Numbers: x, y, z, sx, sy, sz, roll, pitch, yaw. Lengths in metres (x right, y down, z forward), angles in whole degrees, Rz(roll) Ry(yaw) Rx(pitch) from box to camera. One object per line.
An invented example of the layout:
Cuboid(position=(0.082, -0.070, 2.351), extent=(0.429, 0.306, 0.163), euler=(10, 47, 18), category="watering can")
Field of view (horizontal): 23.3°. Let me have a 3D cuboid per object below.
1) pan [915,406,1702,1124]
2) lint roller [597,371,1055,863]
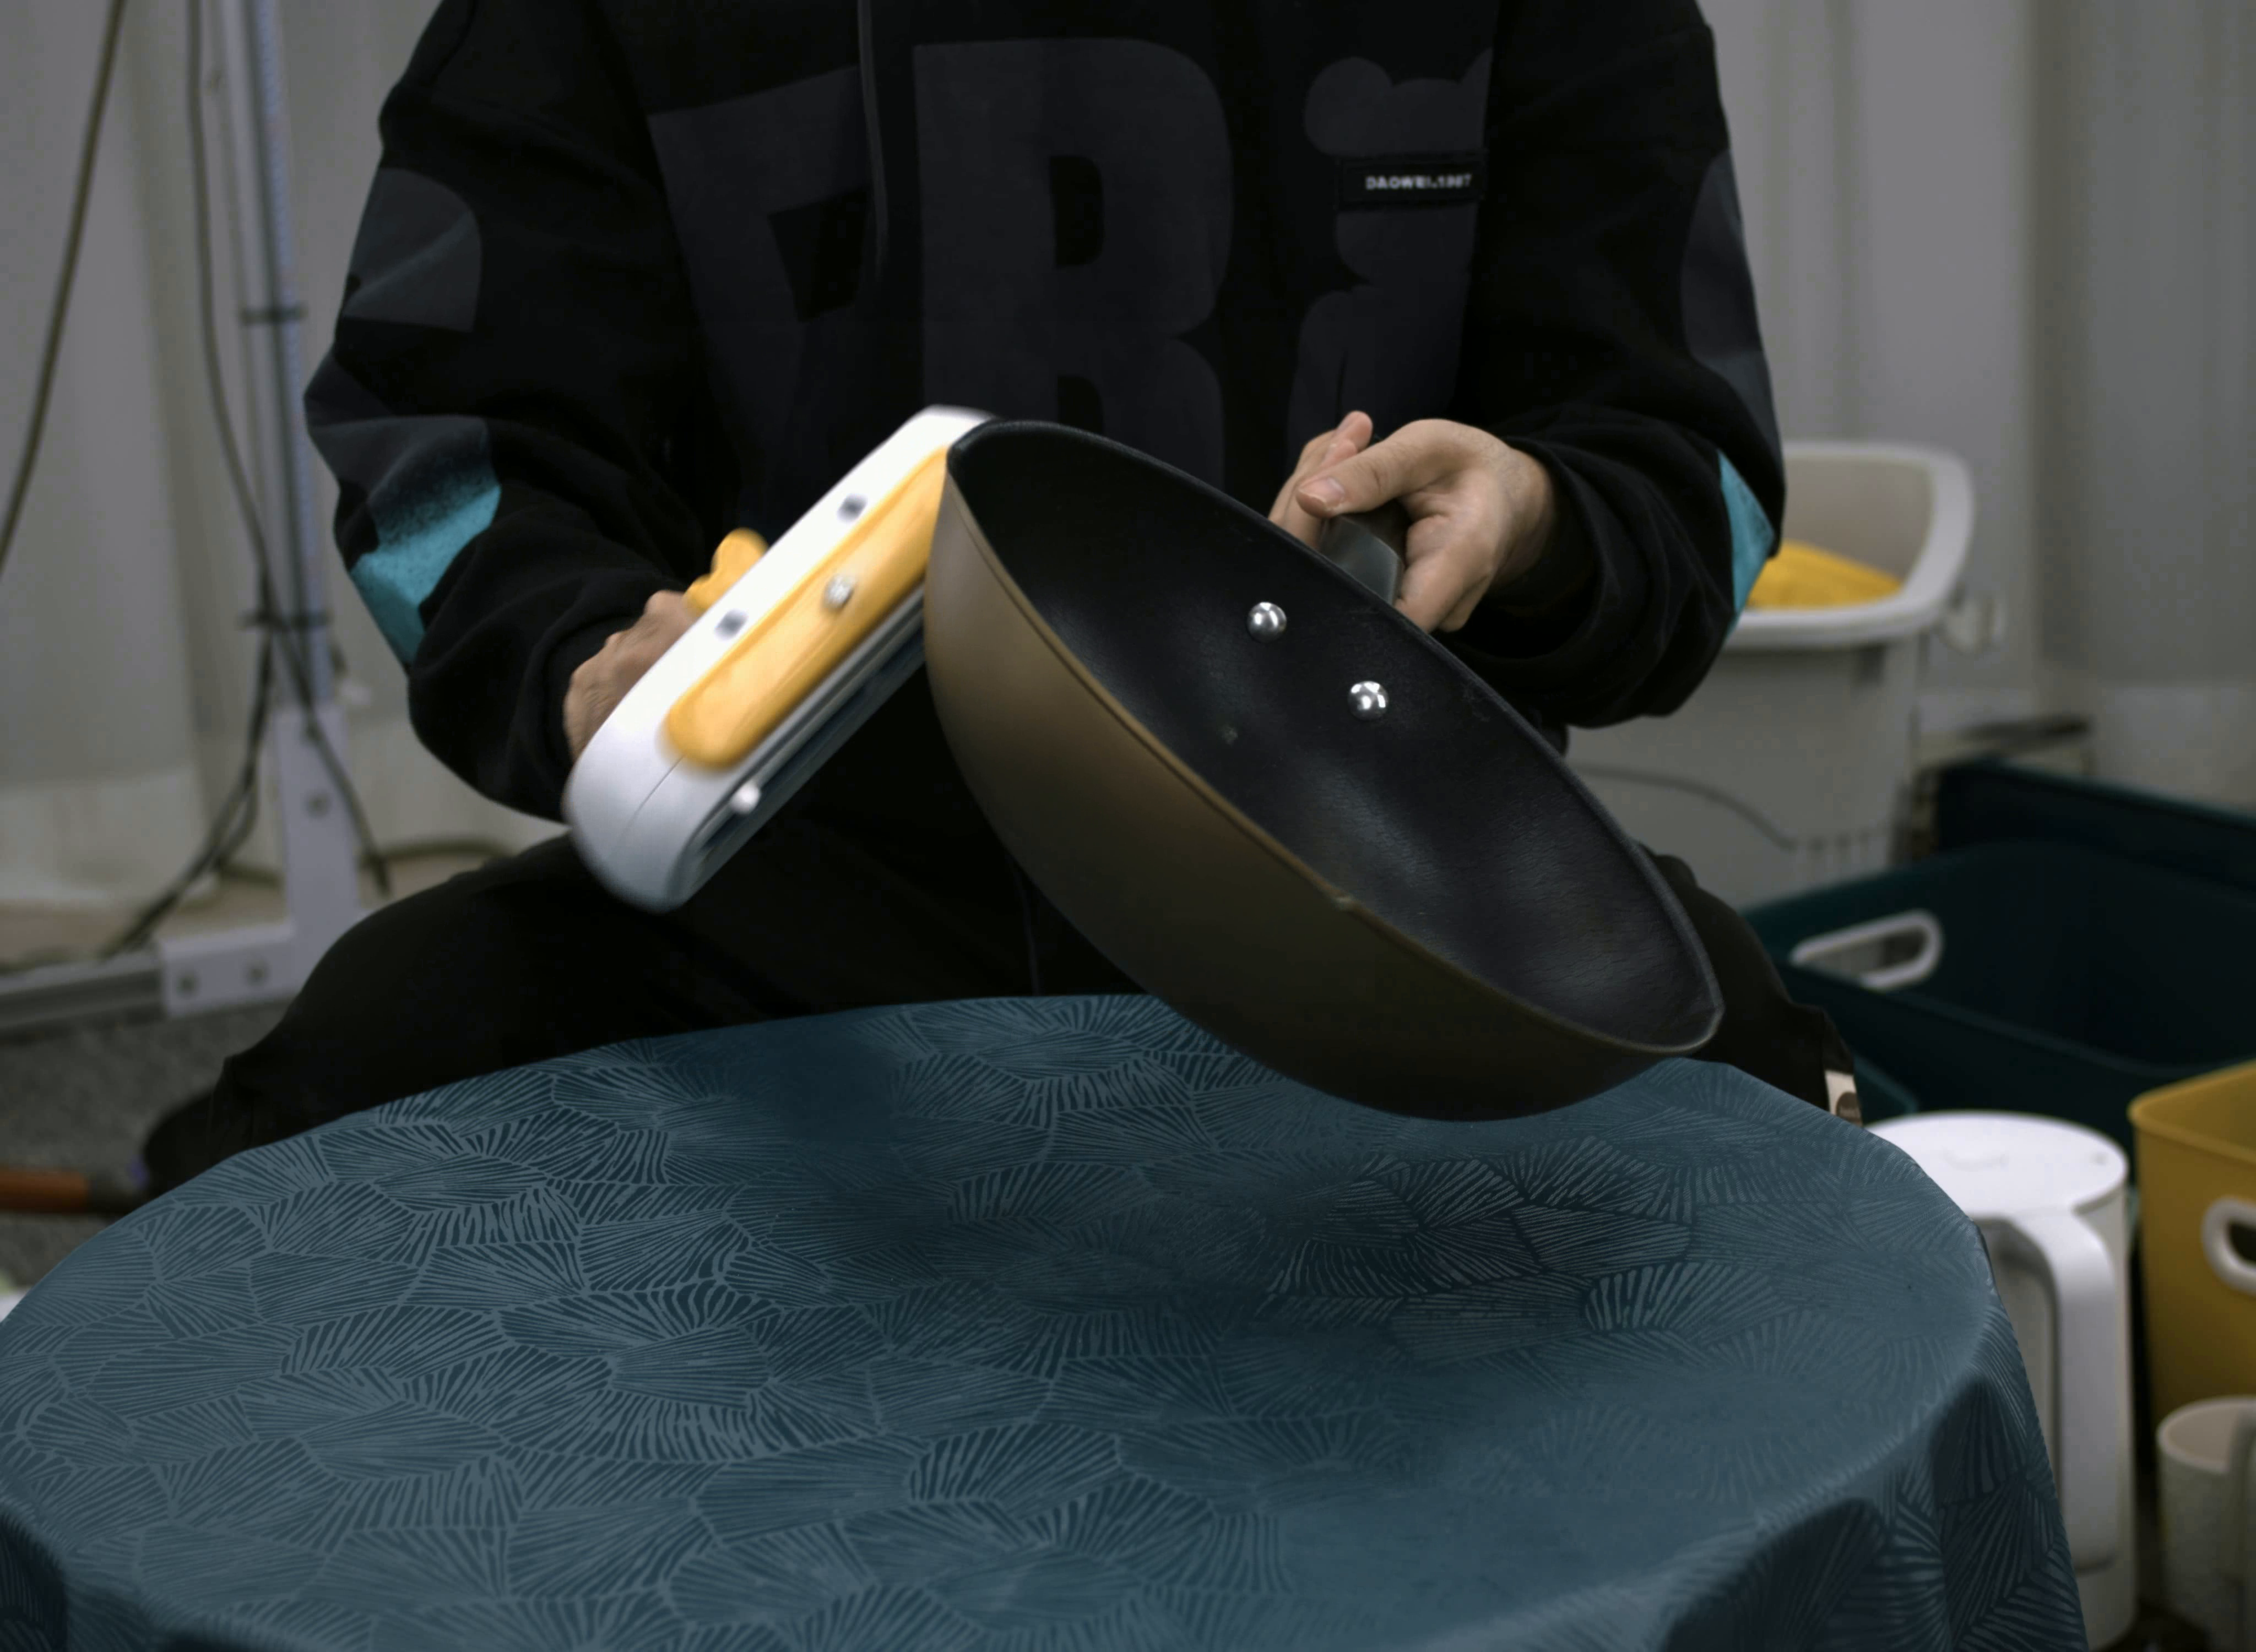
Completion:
Cuboid(position=(0.046, -0.033, 1.716), extent=(0.287, 0.086, 0.467), euler=(37, 18, -7), category="pan")
Cuboid(position=(-0.115, -0.044, 1.727), extent=(0.194, 0.074, 0.191), euler=(-53, 0, -34), category="lint roller")
